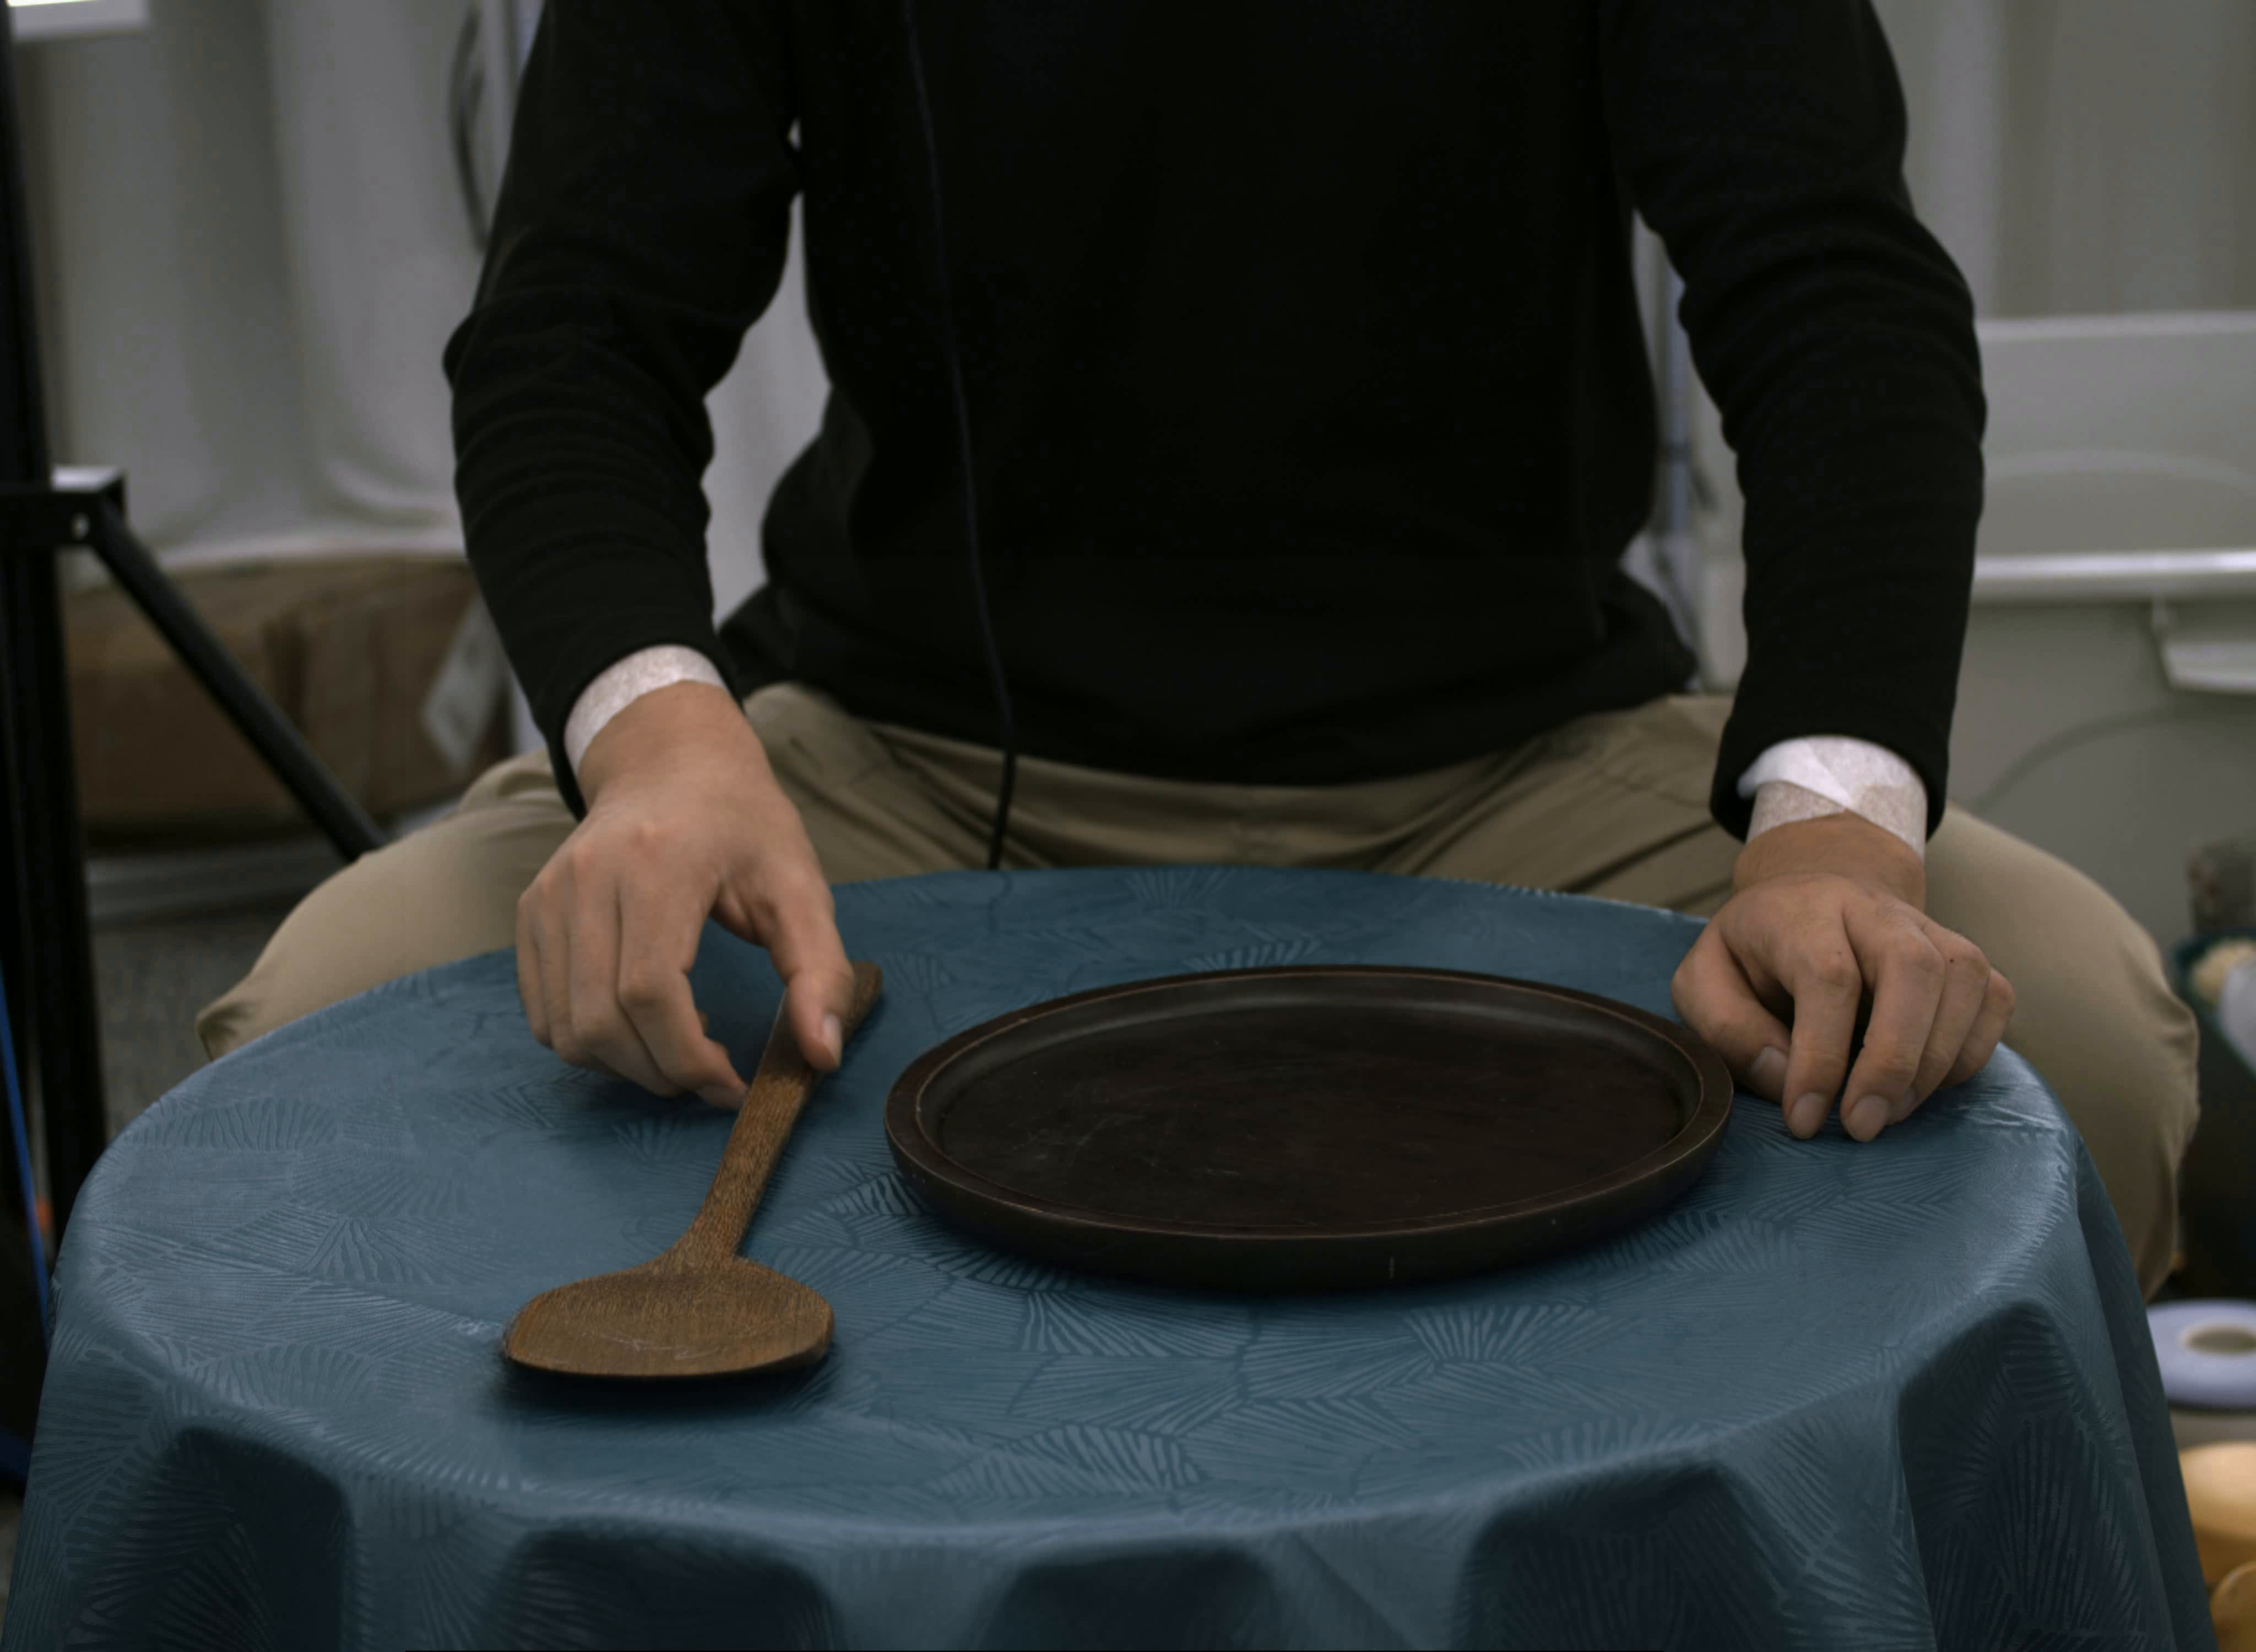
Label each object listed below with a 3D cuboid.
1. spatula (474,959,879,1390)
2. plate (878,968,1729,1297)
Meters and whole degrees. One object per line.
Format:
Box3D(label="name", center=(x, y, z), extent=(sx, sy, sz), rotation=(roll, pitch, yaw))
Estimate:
Box3D(label="spatula", center=(-0.113, 0.097, 1.587), extent=(0.096, 0.016, 0.385), rotation=(-1, 16, 6))
Box3D(label="plate", center=(0.052, 0.088, 1.575), extent=(0.253, 0.029, 0.256), rotation=(-4, 15, 0))
